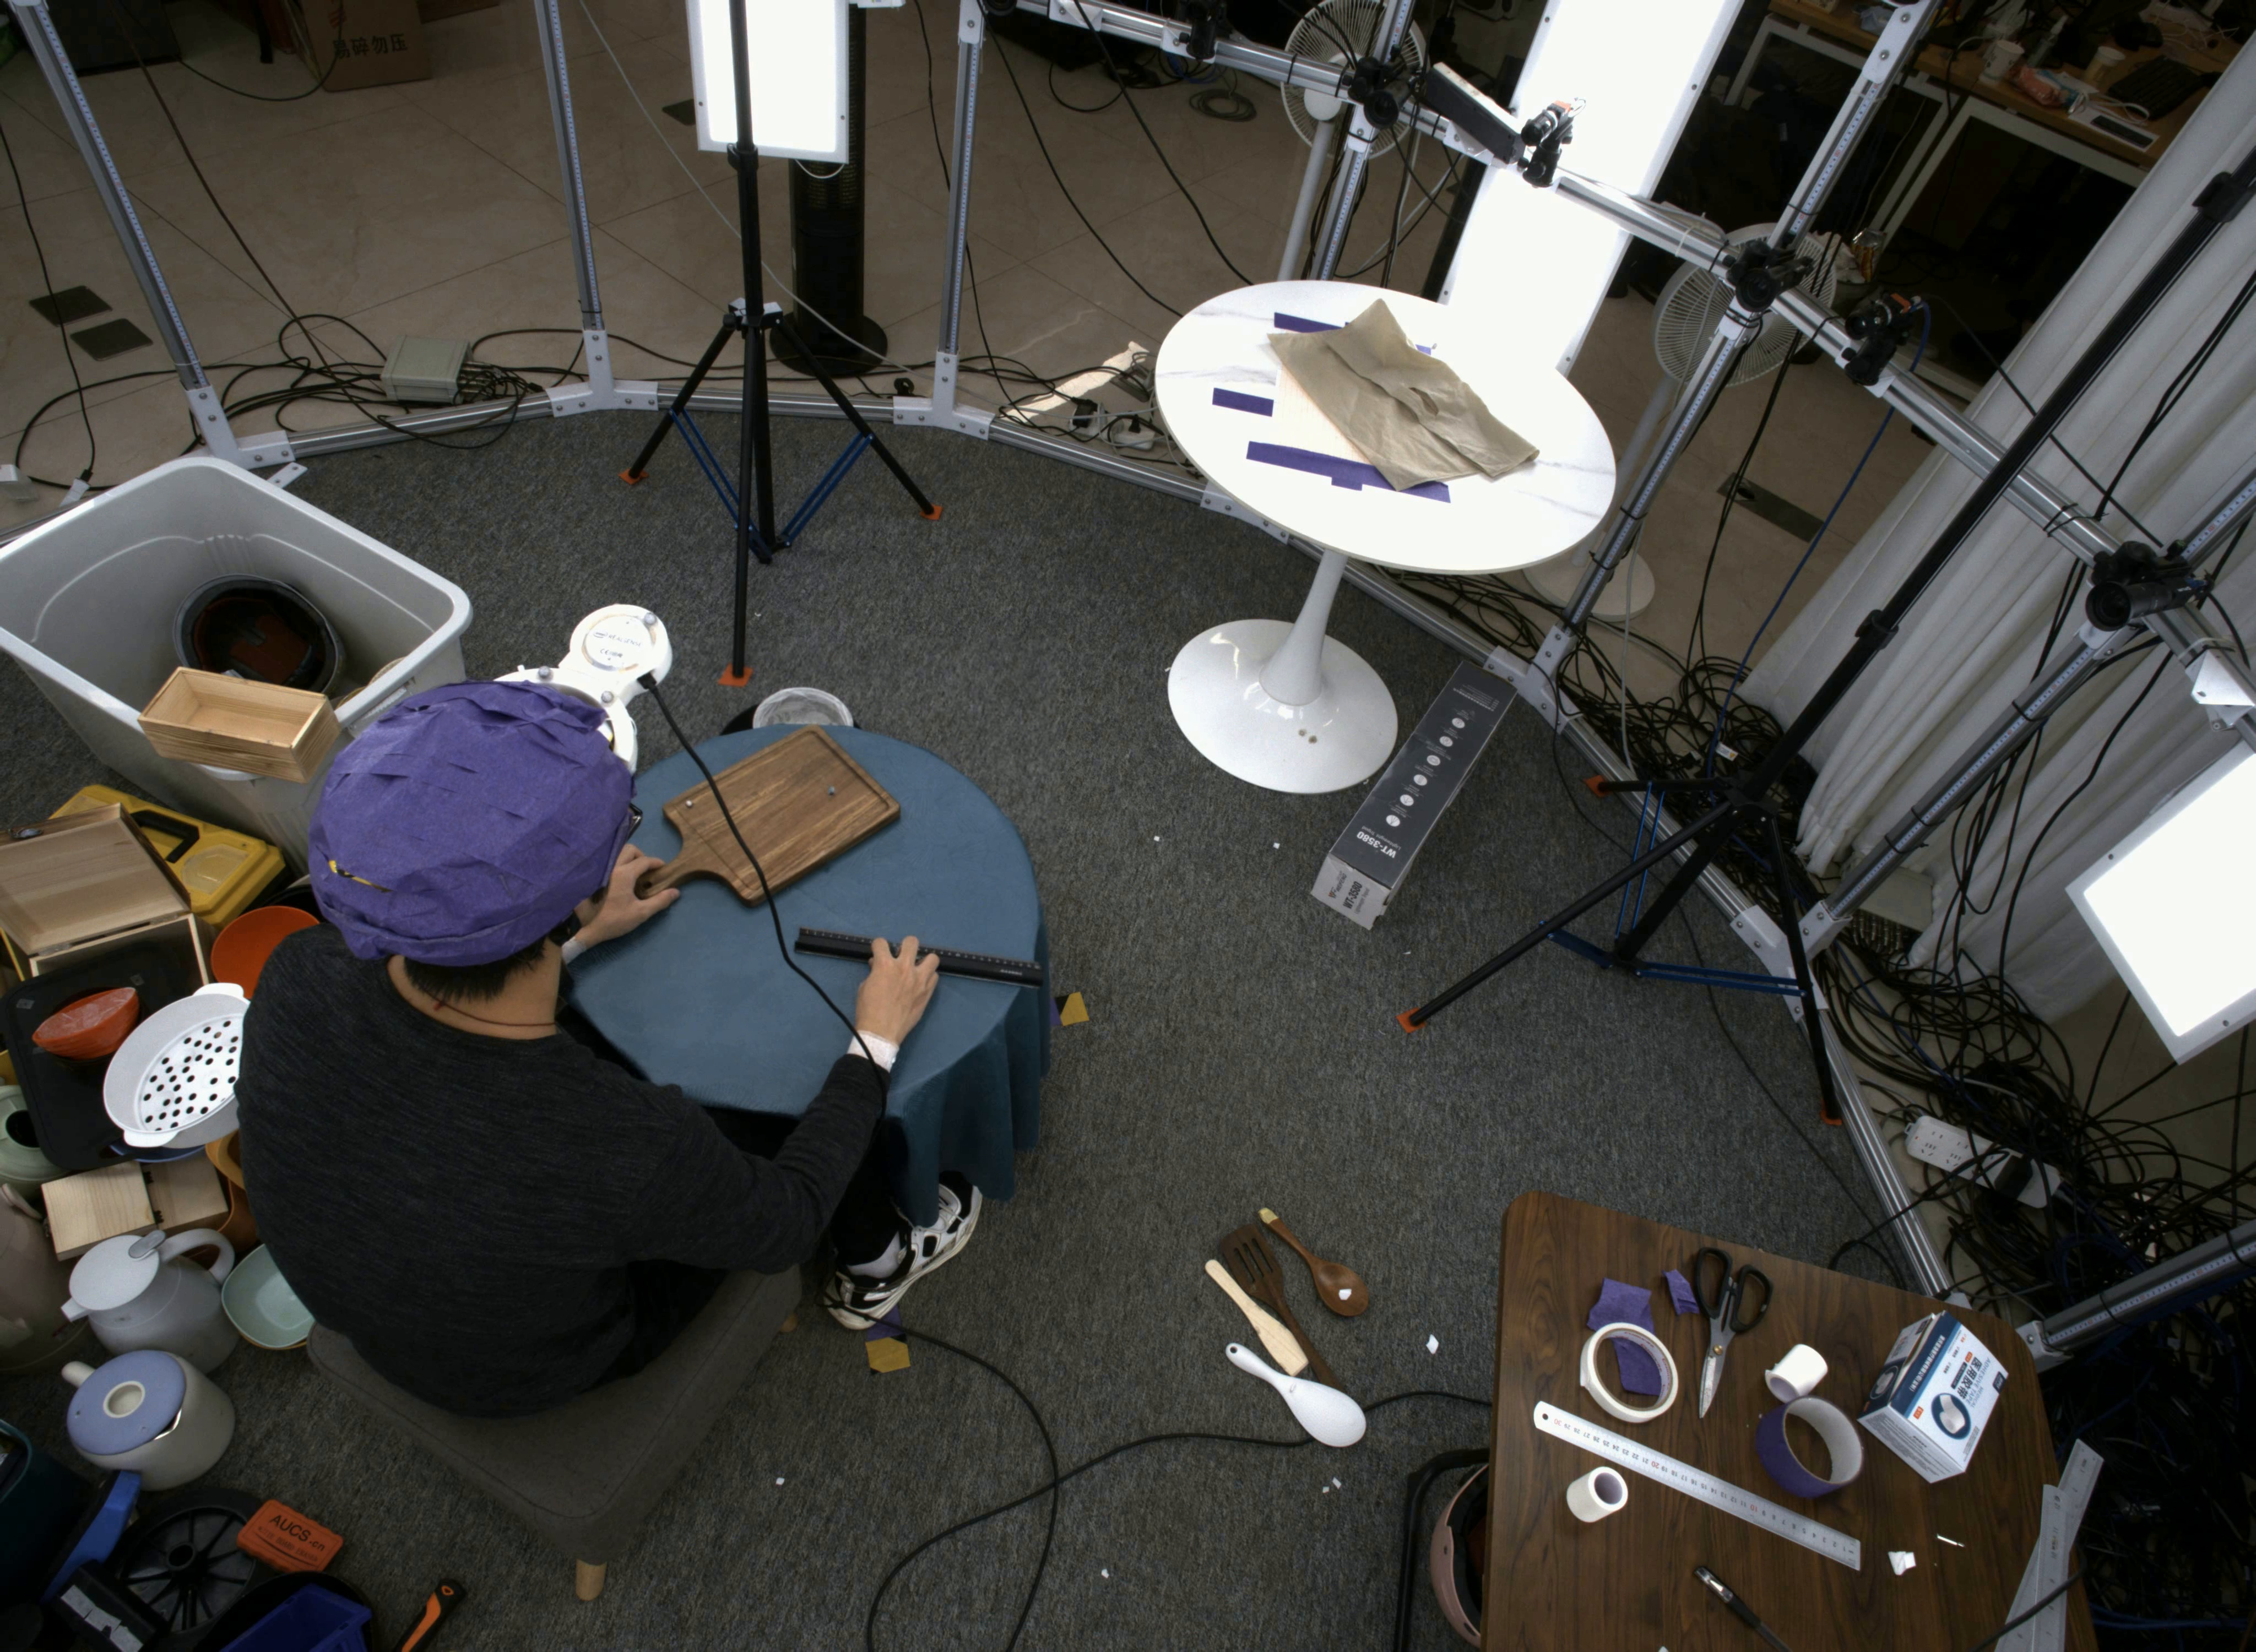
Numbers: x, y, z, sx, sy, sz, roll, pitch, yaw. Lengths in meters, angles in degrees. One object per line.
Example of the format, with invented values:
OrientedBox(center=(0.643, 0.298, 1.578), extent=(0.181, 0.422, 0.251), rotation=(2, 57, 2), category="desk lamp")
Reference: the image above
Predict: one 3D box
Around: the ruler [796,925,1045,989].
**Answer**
OrientedBox(center=(-0.258, 0.159, 1.633), extent=(0.311, 0.017, 0.038), rotation=(10, 51, -7), category="ruler")

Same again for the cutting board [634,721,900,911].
OrientedBox(center=(-0.491, 0.003, 1.686), extent=(0.196, 0.023, 0.353), rotation=(42, 55, 17), category="cutting board")
